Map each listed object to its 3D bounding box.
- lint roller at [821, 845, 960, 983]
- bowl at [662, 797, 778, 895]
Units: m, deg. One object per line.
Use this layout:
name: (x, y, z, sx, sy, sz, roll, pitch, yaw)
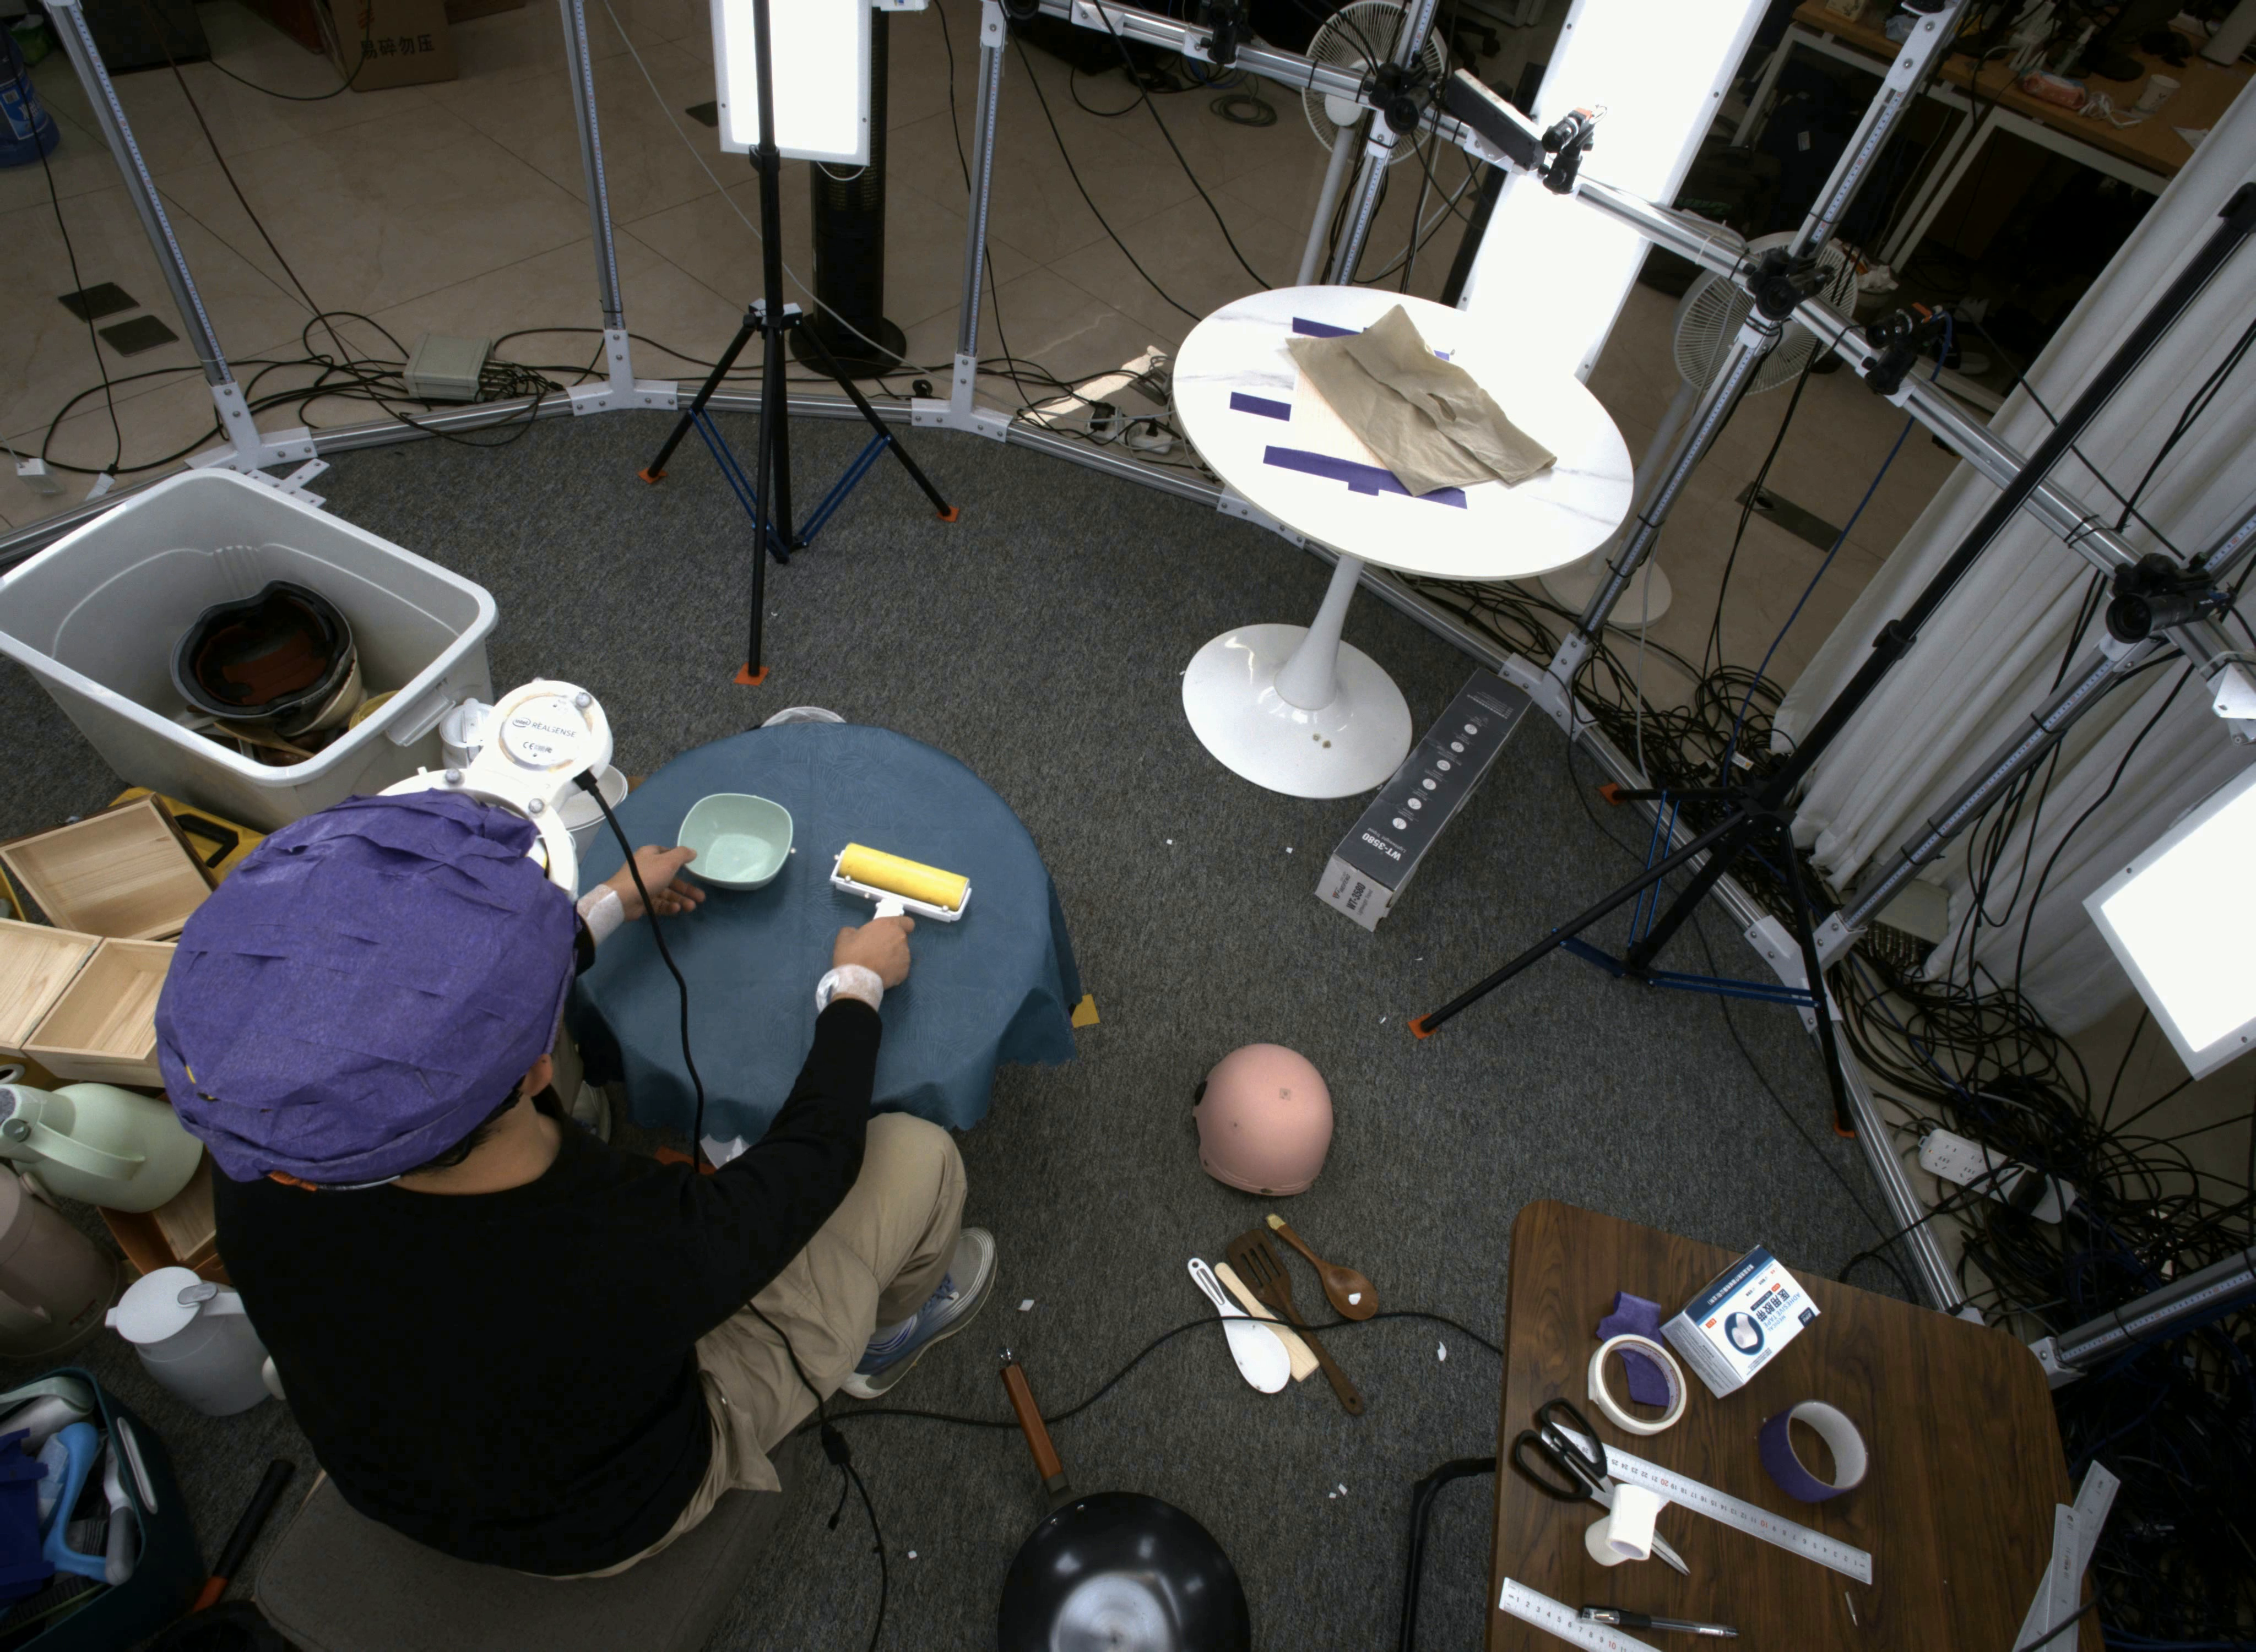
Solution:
lint roller: (-0.313, 0.110, 1.619, 0.173, 0.052, 0.189, 15, 39, -3)
bowl: (-0.514, 0.034, 1.633, 0.151, 0.060, 0.148, 9, 50, -9)
